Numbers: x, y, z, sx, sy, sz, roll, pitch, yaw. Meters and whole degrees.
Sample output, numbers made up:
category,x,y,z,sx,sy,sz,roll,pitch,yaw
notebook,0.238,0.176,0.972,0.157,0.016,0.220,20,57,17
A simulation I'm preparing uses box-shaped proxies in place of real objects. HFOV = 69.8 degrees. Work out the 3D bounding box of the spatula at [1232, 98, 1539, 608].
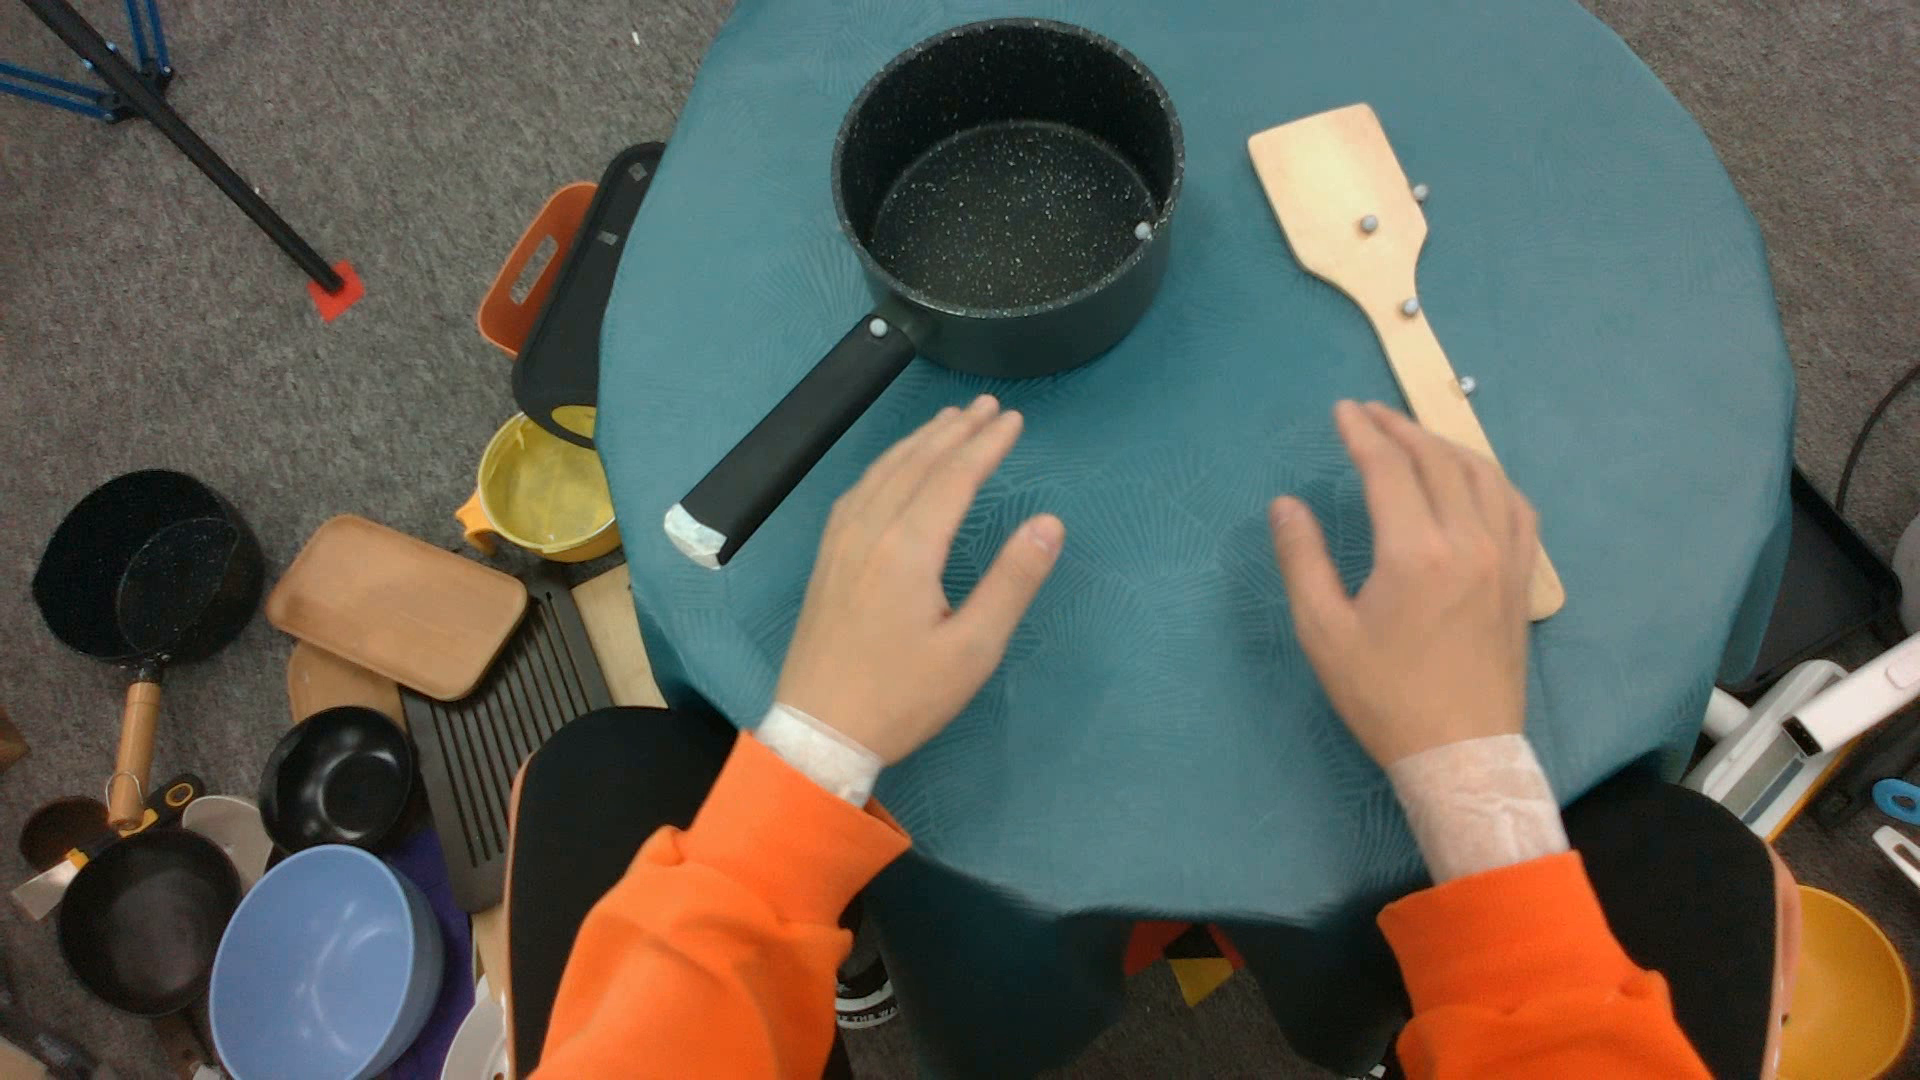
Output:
category,x,y,z,sx,sy,sz,roll,pitch,yaw
spatula,0.217,-0.100,0.686,0.072,0.010,0.294,-15,68,-4

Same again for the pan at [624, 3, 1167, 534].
category,x,y,z,sx,sy,sz,roll,pitch,yaw
pan,-0.032,-0.119,0.676,0.172,0.086,0.329,35,74,17
